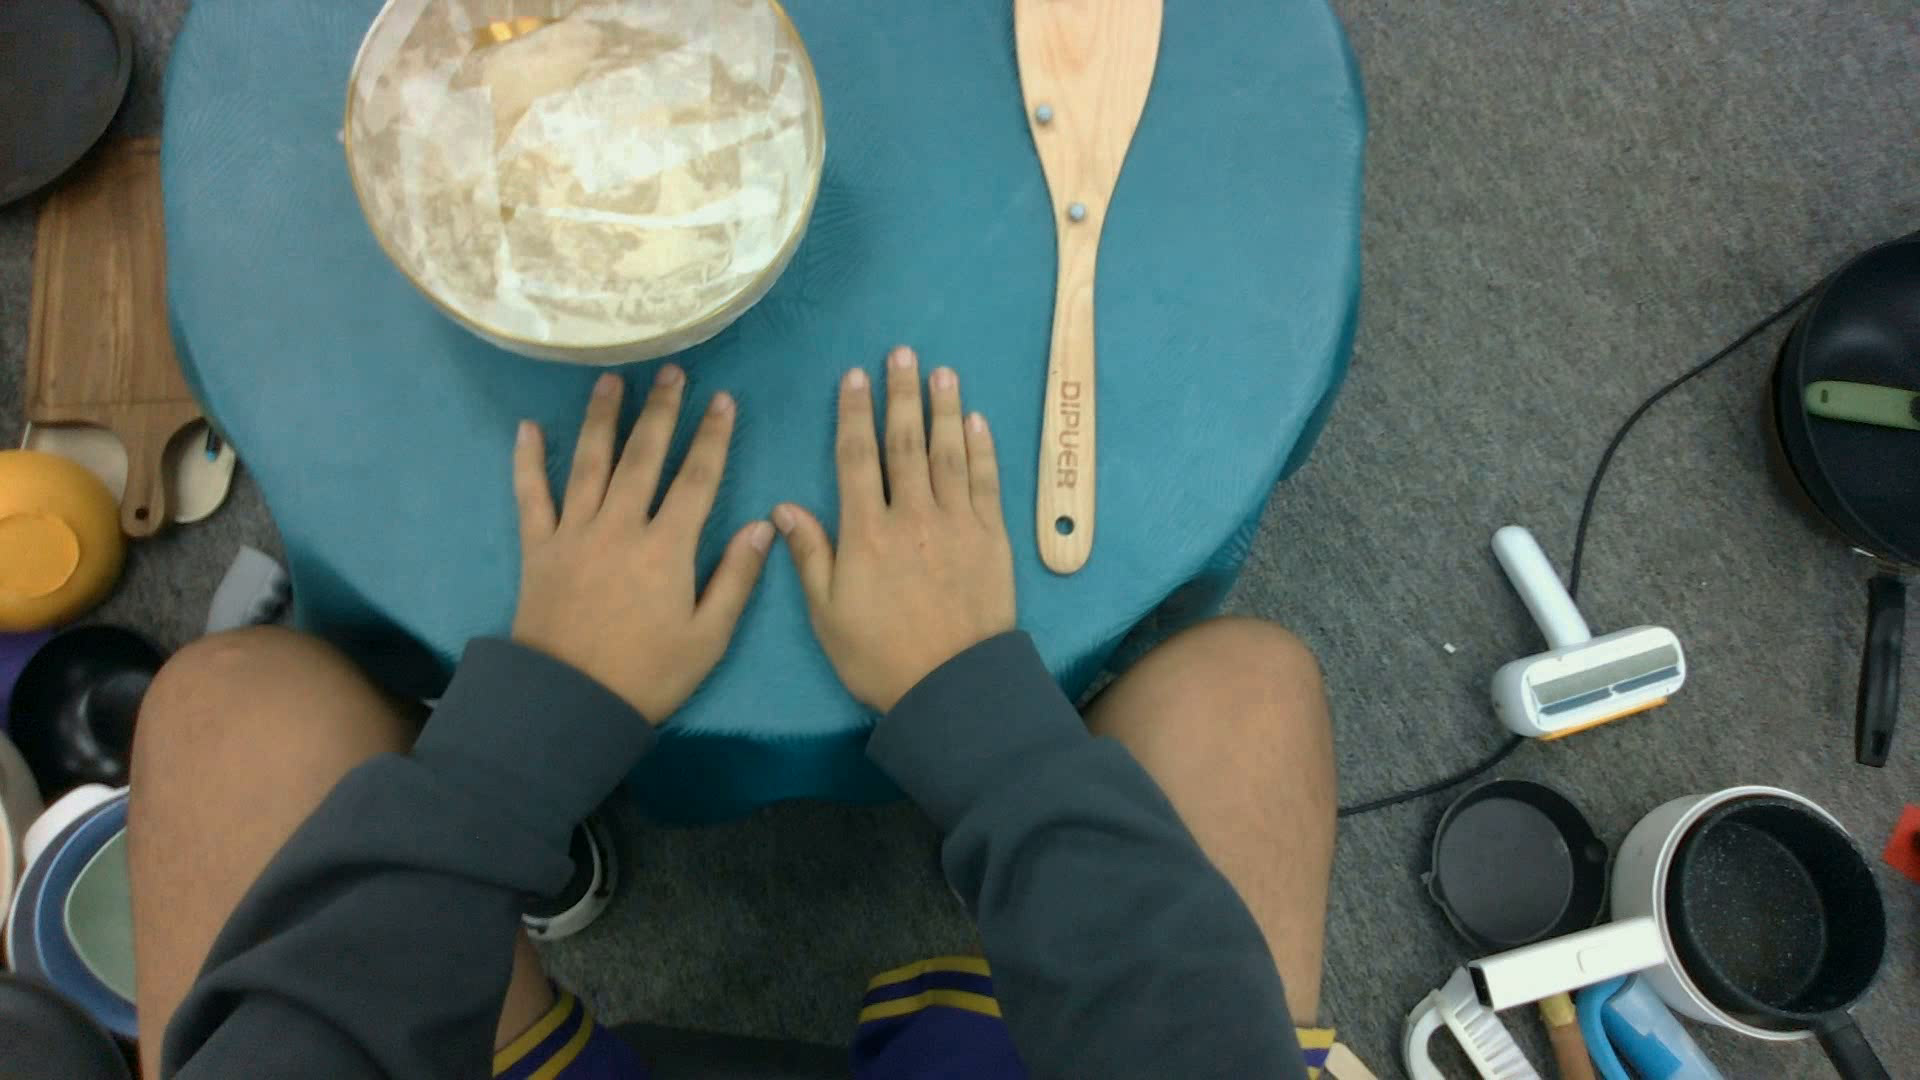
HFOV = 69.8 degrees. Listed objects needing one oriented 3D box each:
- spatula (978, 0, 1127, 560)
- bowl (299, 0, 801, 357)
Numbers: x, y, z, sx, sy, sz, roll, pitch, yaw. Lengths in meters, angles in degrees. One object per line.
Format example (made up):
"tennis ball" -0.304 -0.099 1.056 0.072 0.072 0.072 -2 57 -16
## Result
"spatula" 0.044 -0.151 0.696 0.080 0.016 0.328 3 77 -7
"bowl" -0.177 -0.166 0.629 0.215 0.094 0.215 2 76 -7
